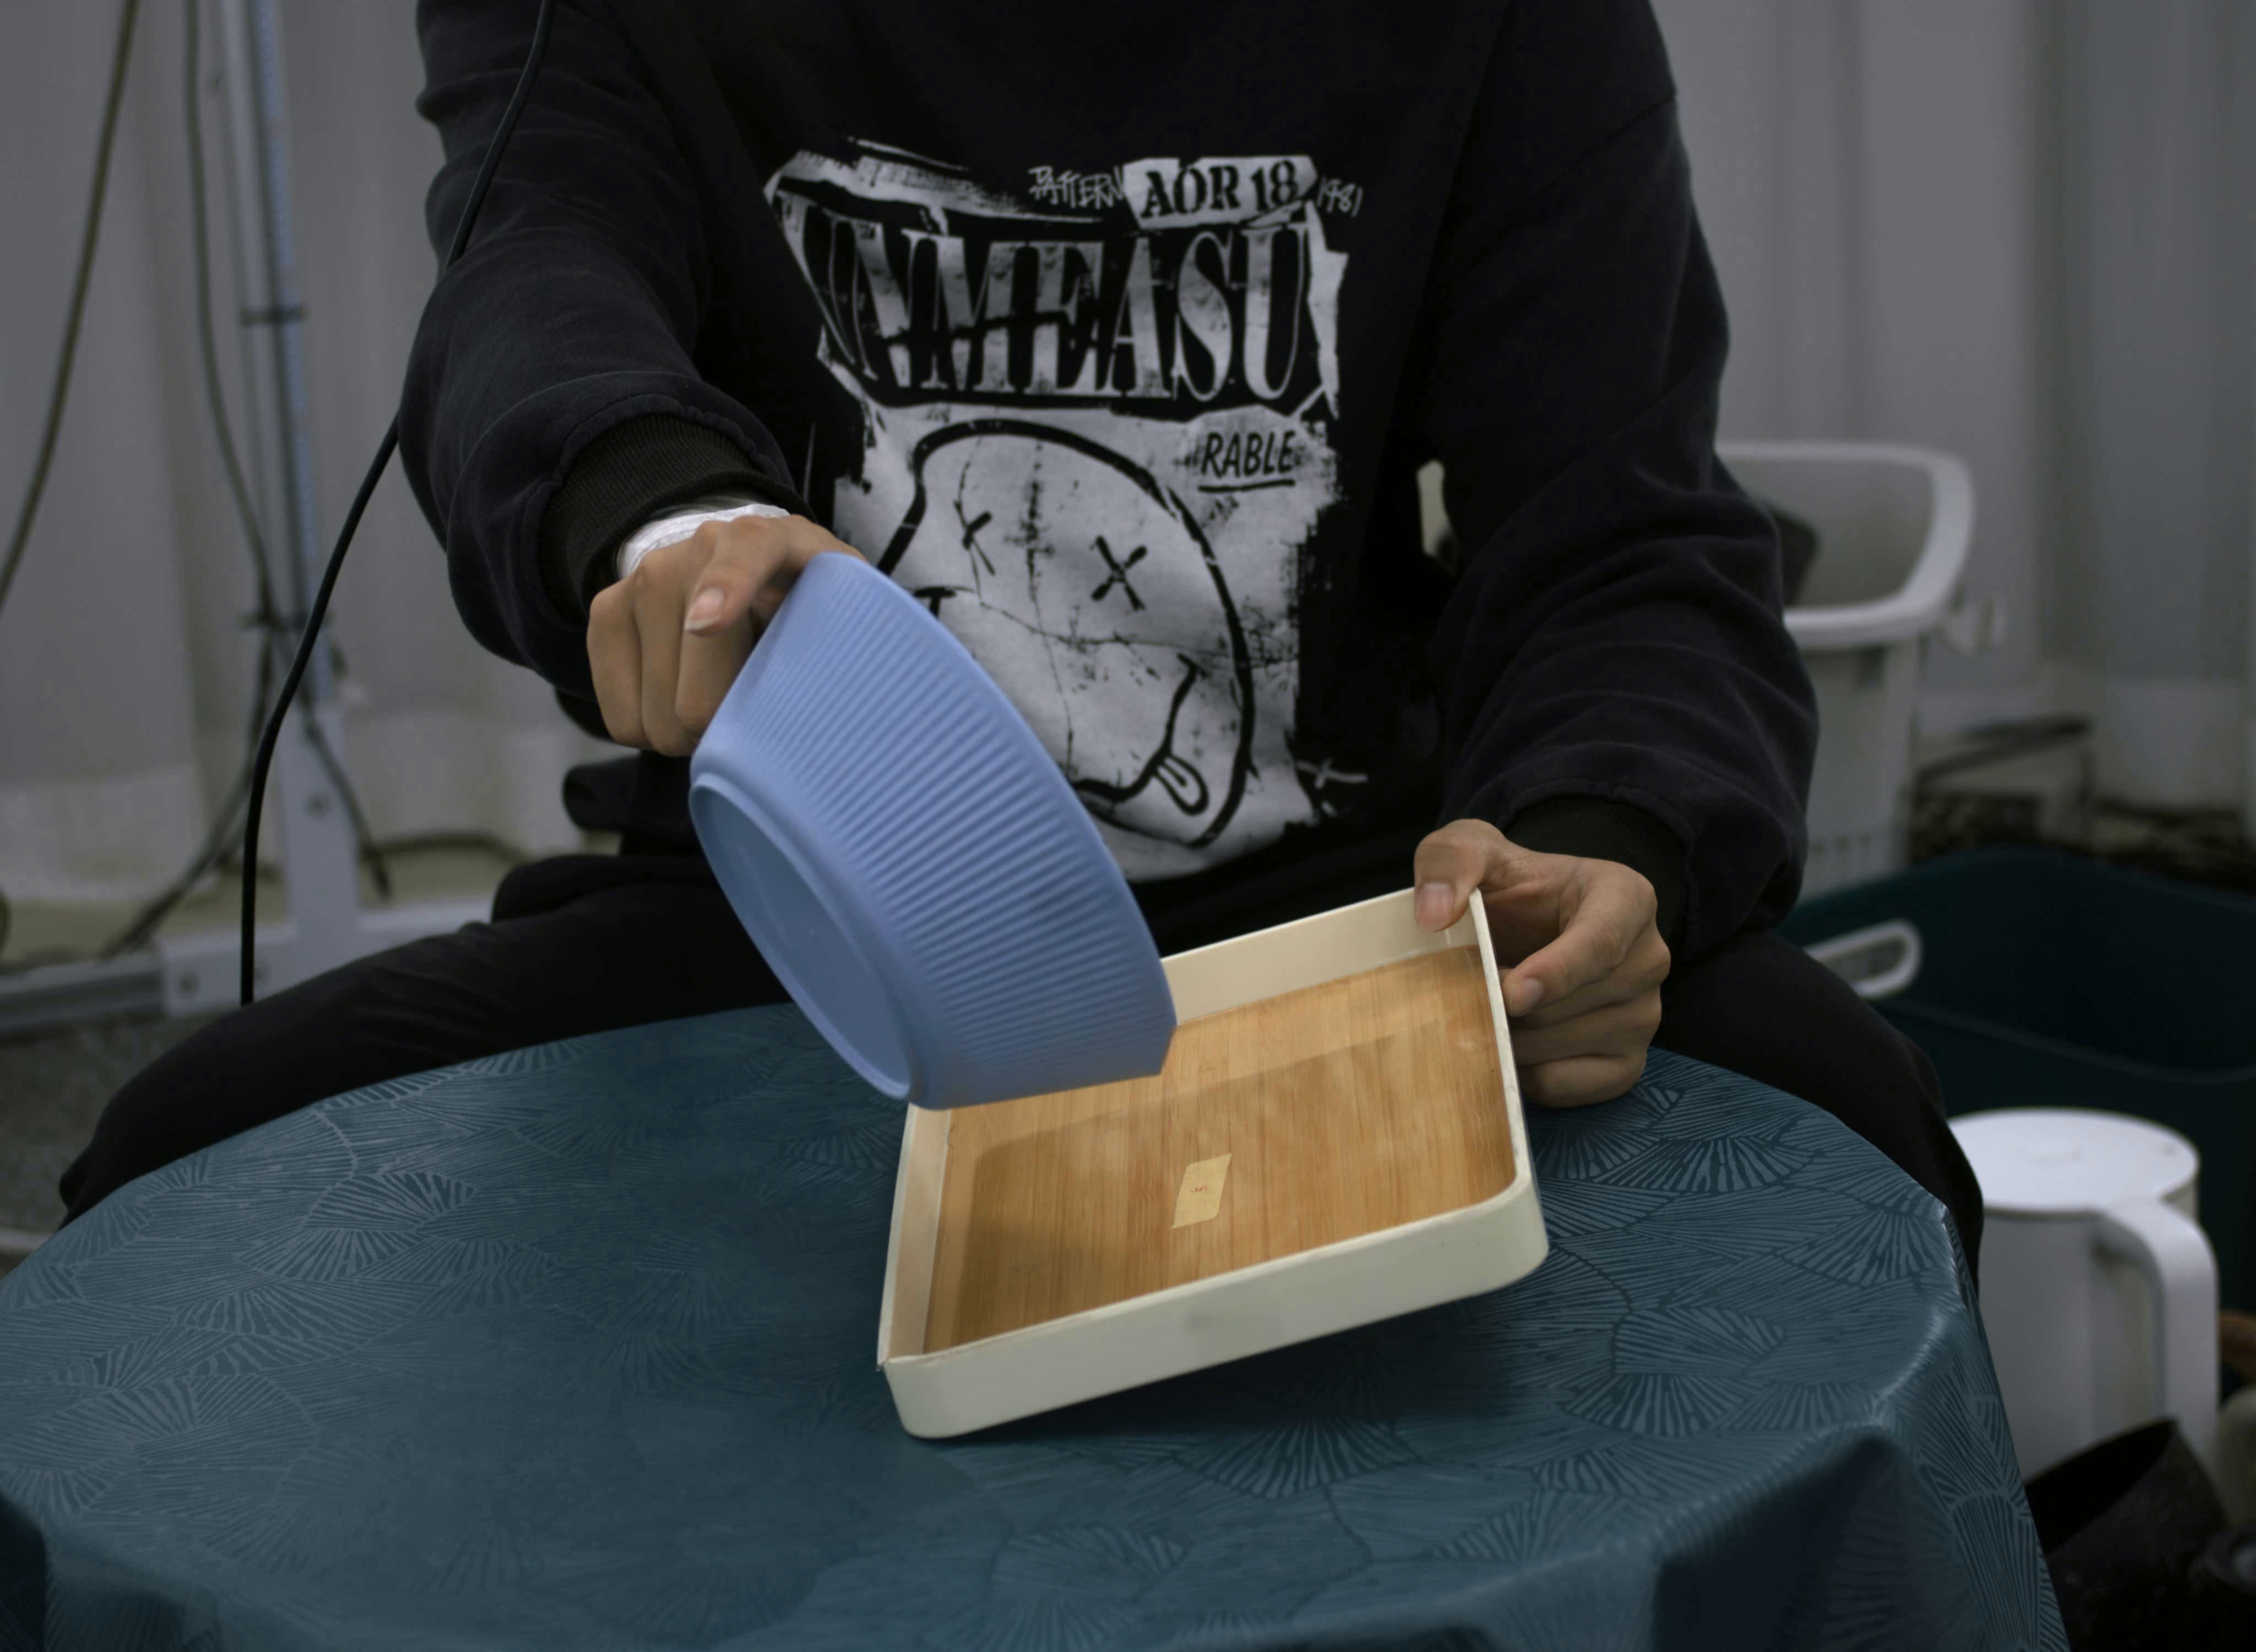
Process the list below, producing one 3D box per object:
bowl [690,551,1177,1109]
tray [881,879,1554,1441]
[{"bbox_3d":[-0.065,0.013,1.541,0.070,0.174,0.177,-34,25,-16],"label":"bowl"},{"bbox_3d":[0.026,0.095,1.640,0.191,0.027,0.302,-16,16,5],"label":"tray"}]
